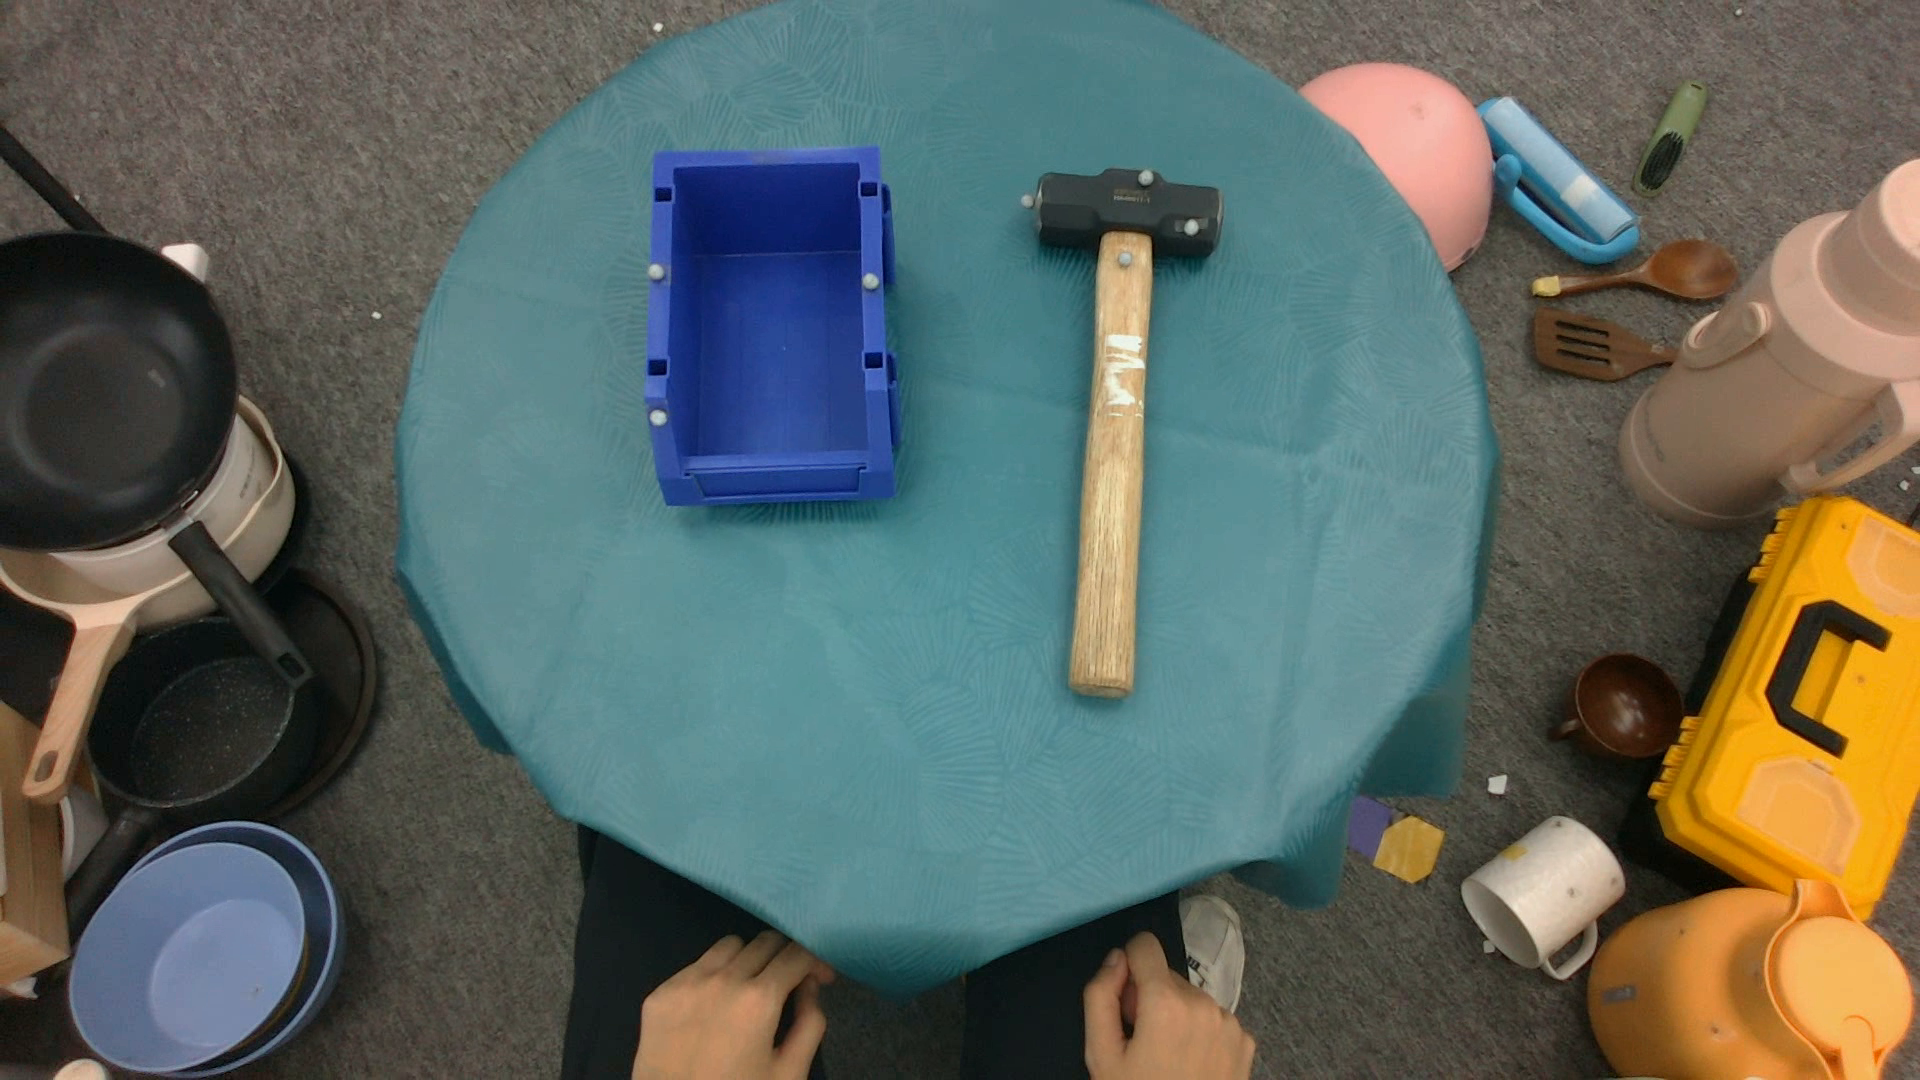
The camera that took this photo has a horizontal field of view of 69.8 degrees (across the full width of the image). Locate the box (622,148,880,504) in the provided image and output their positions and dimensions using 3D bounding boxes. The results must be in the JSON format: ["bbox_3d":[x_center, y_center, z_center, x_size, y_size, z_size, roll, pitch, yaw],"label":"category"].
[{"bbox_3d":[-0.105,-0.110,0.728,0.124,0.081,0.180,-1,64,-3],"label":"box"}]

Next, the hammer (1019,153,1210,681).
[{"bbox_3d":[0.071,-0.073,0.743,0.107,0.038,0.306,8,68,1],"label":"hammer"}]
